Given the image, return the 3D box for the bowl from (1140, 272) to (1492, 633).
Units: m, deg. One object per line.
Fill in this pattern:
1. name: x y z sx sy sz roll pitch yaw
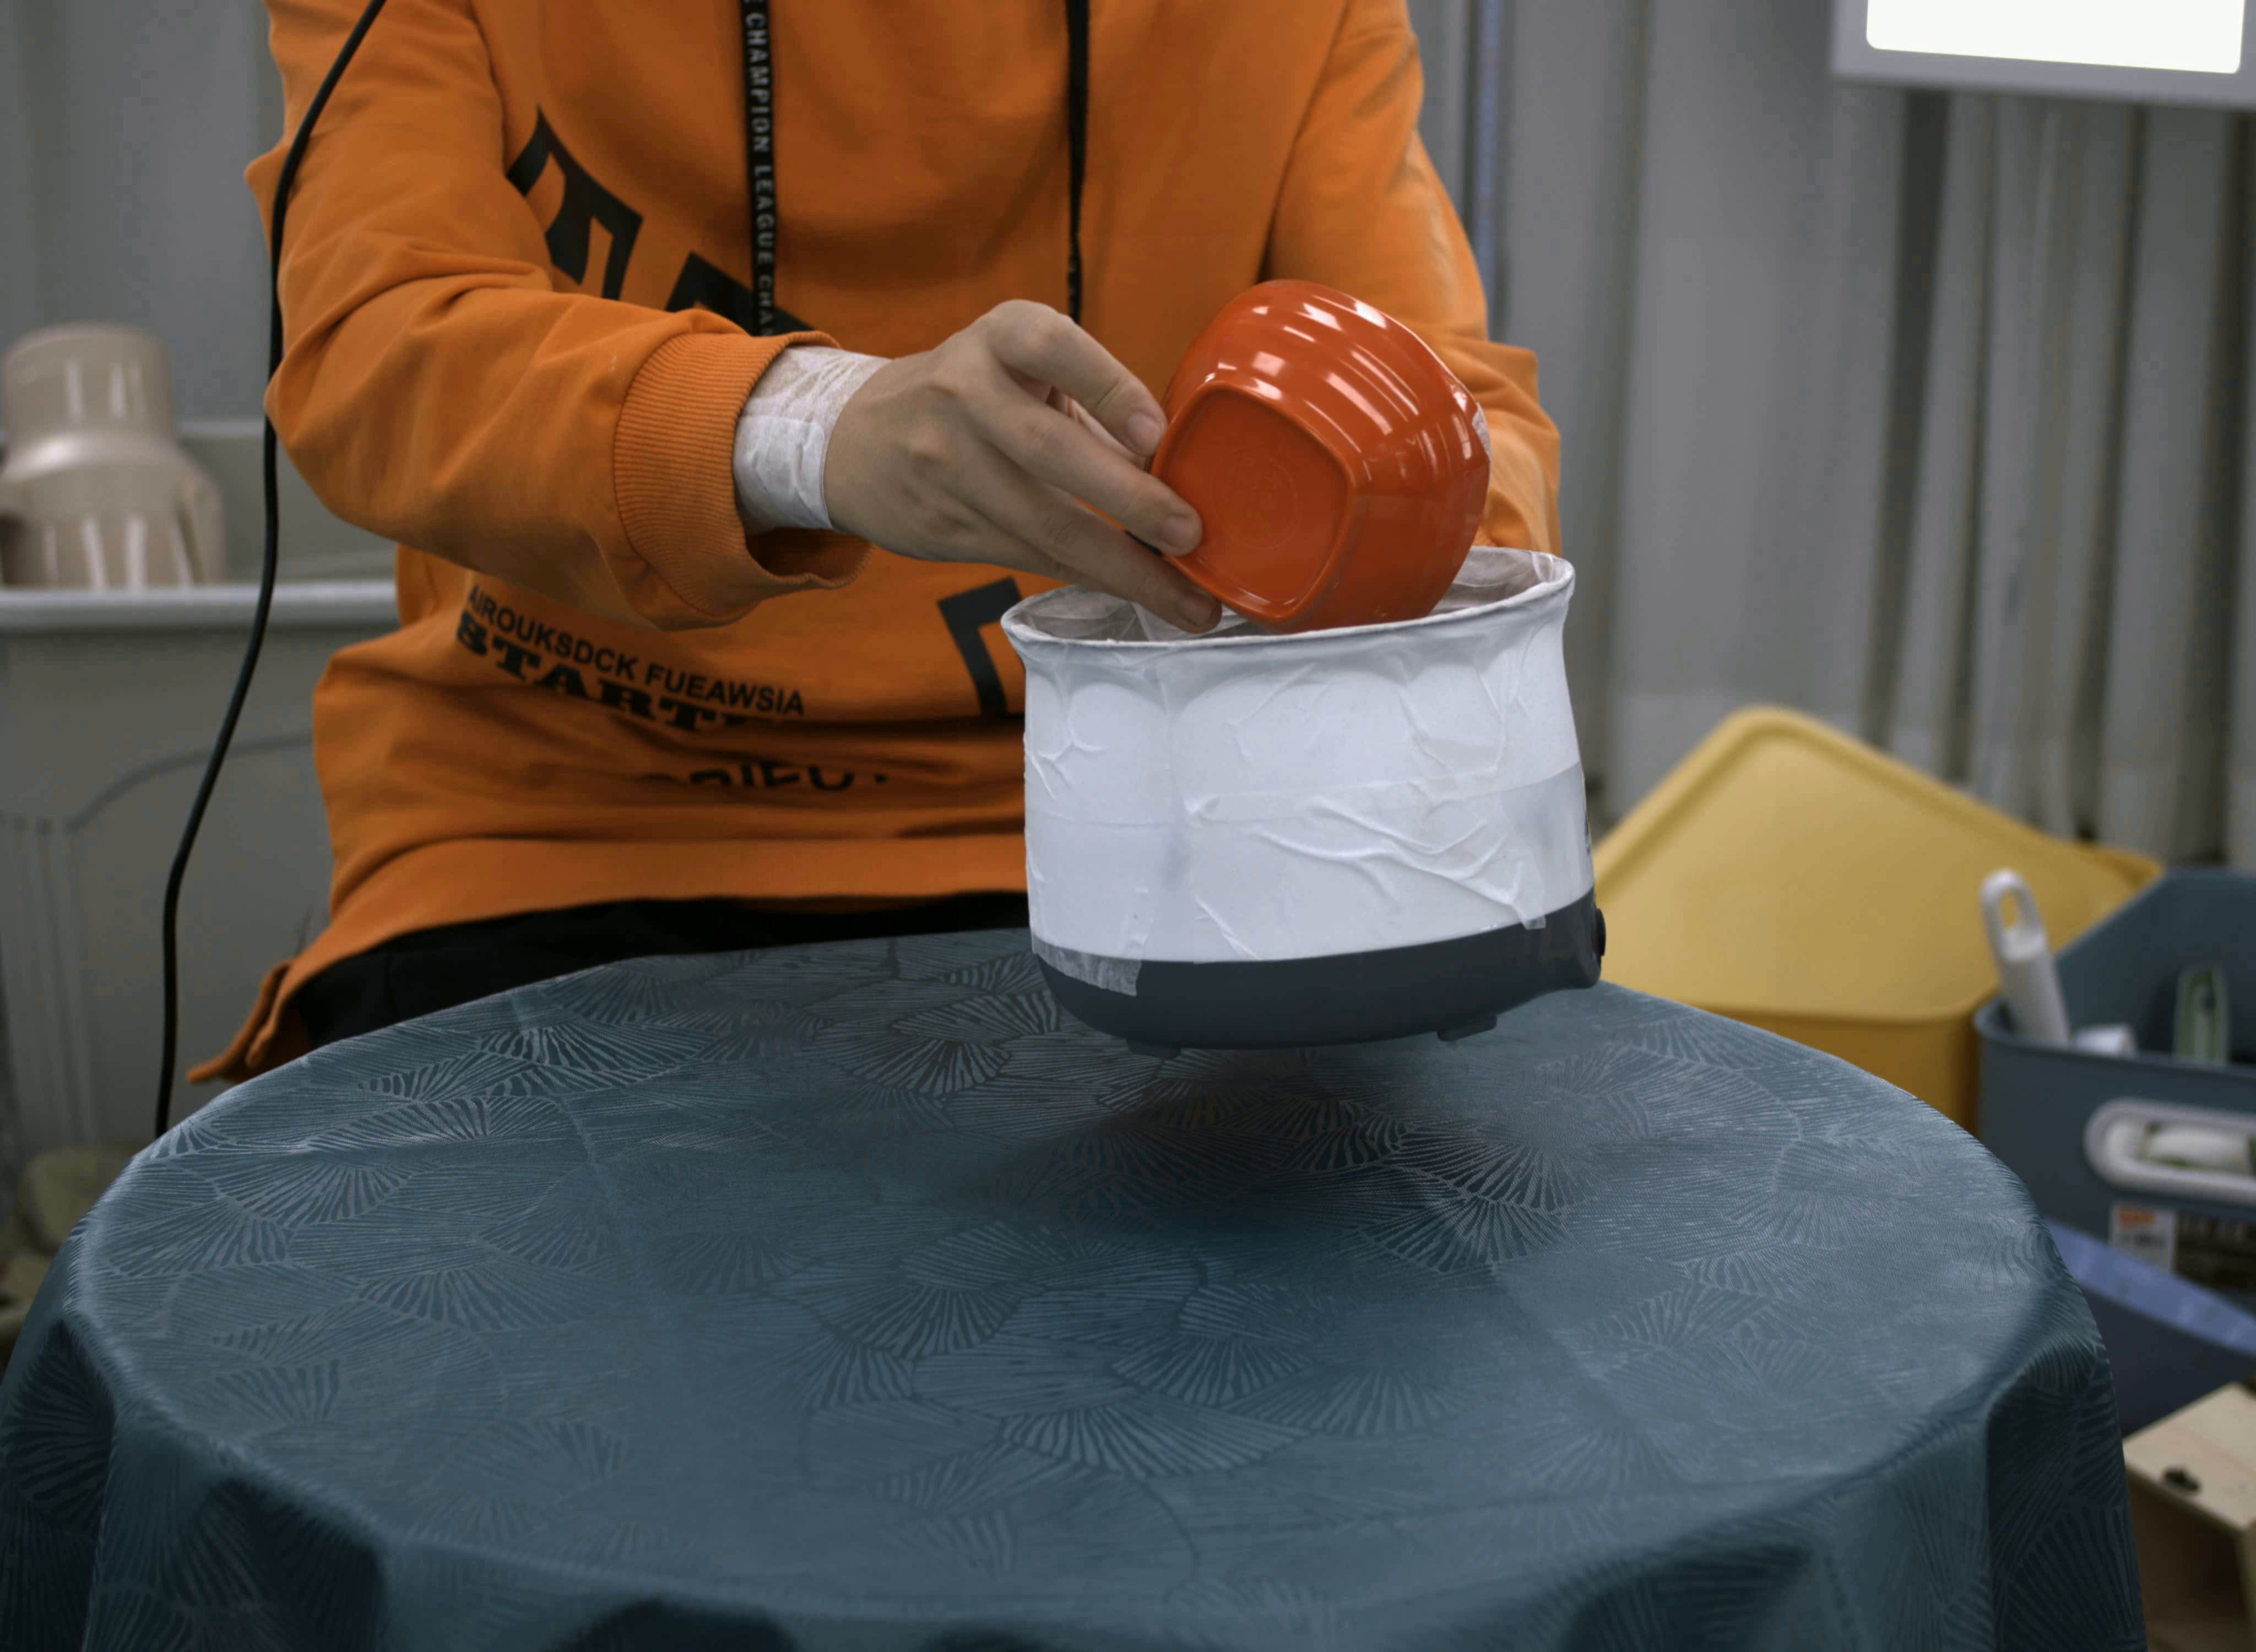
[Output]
1. bowl: 0.048 -0.106 1.606 0.117 0.120 0.051 9 23 27

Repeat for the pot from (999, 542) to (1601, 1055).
1. pot: 0.056 -0.016 1.647 0.178 0.137 0.233 -3 11 4
